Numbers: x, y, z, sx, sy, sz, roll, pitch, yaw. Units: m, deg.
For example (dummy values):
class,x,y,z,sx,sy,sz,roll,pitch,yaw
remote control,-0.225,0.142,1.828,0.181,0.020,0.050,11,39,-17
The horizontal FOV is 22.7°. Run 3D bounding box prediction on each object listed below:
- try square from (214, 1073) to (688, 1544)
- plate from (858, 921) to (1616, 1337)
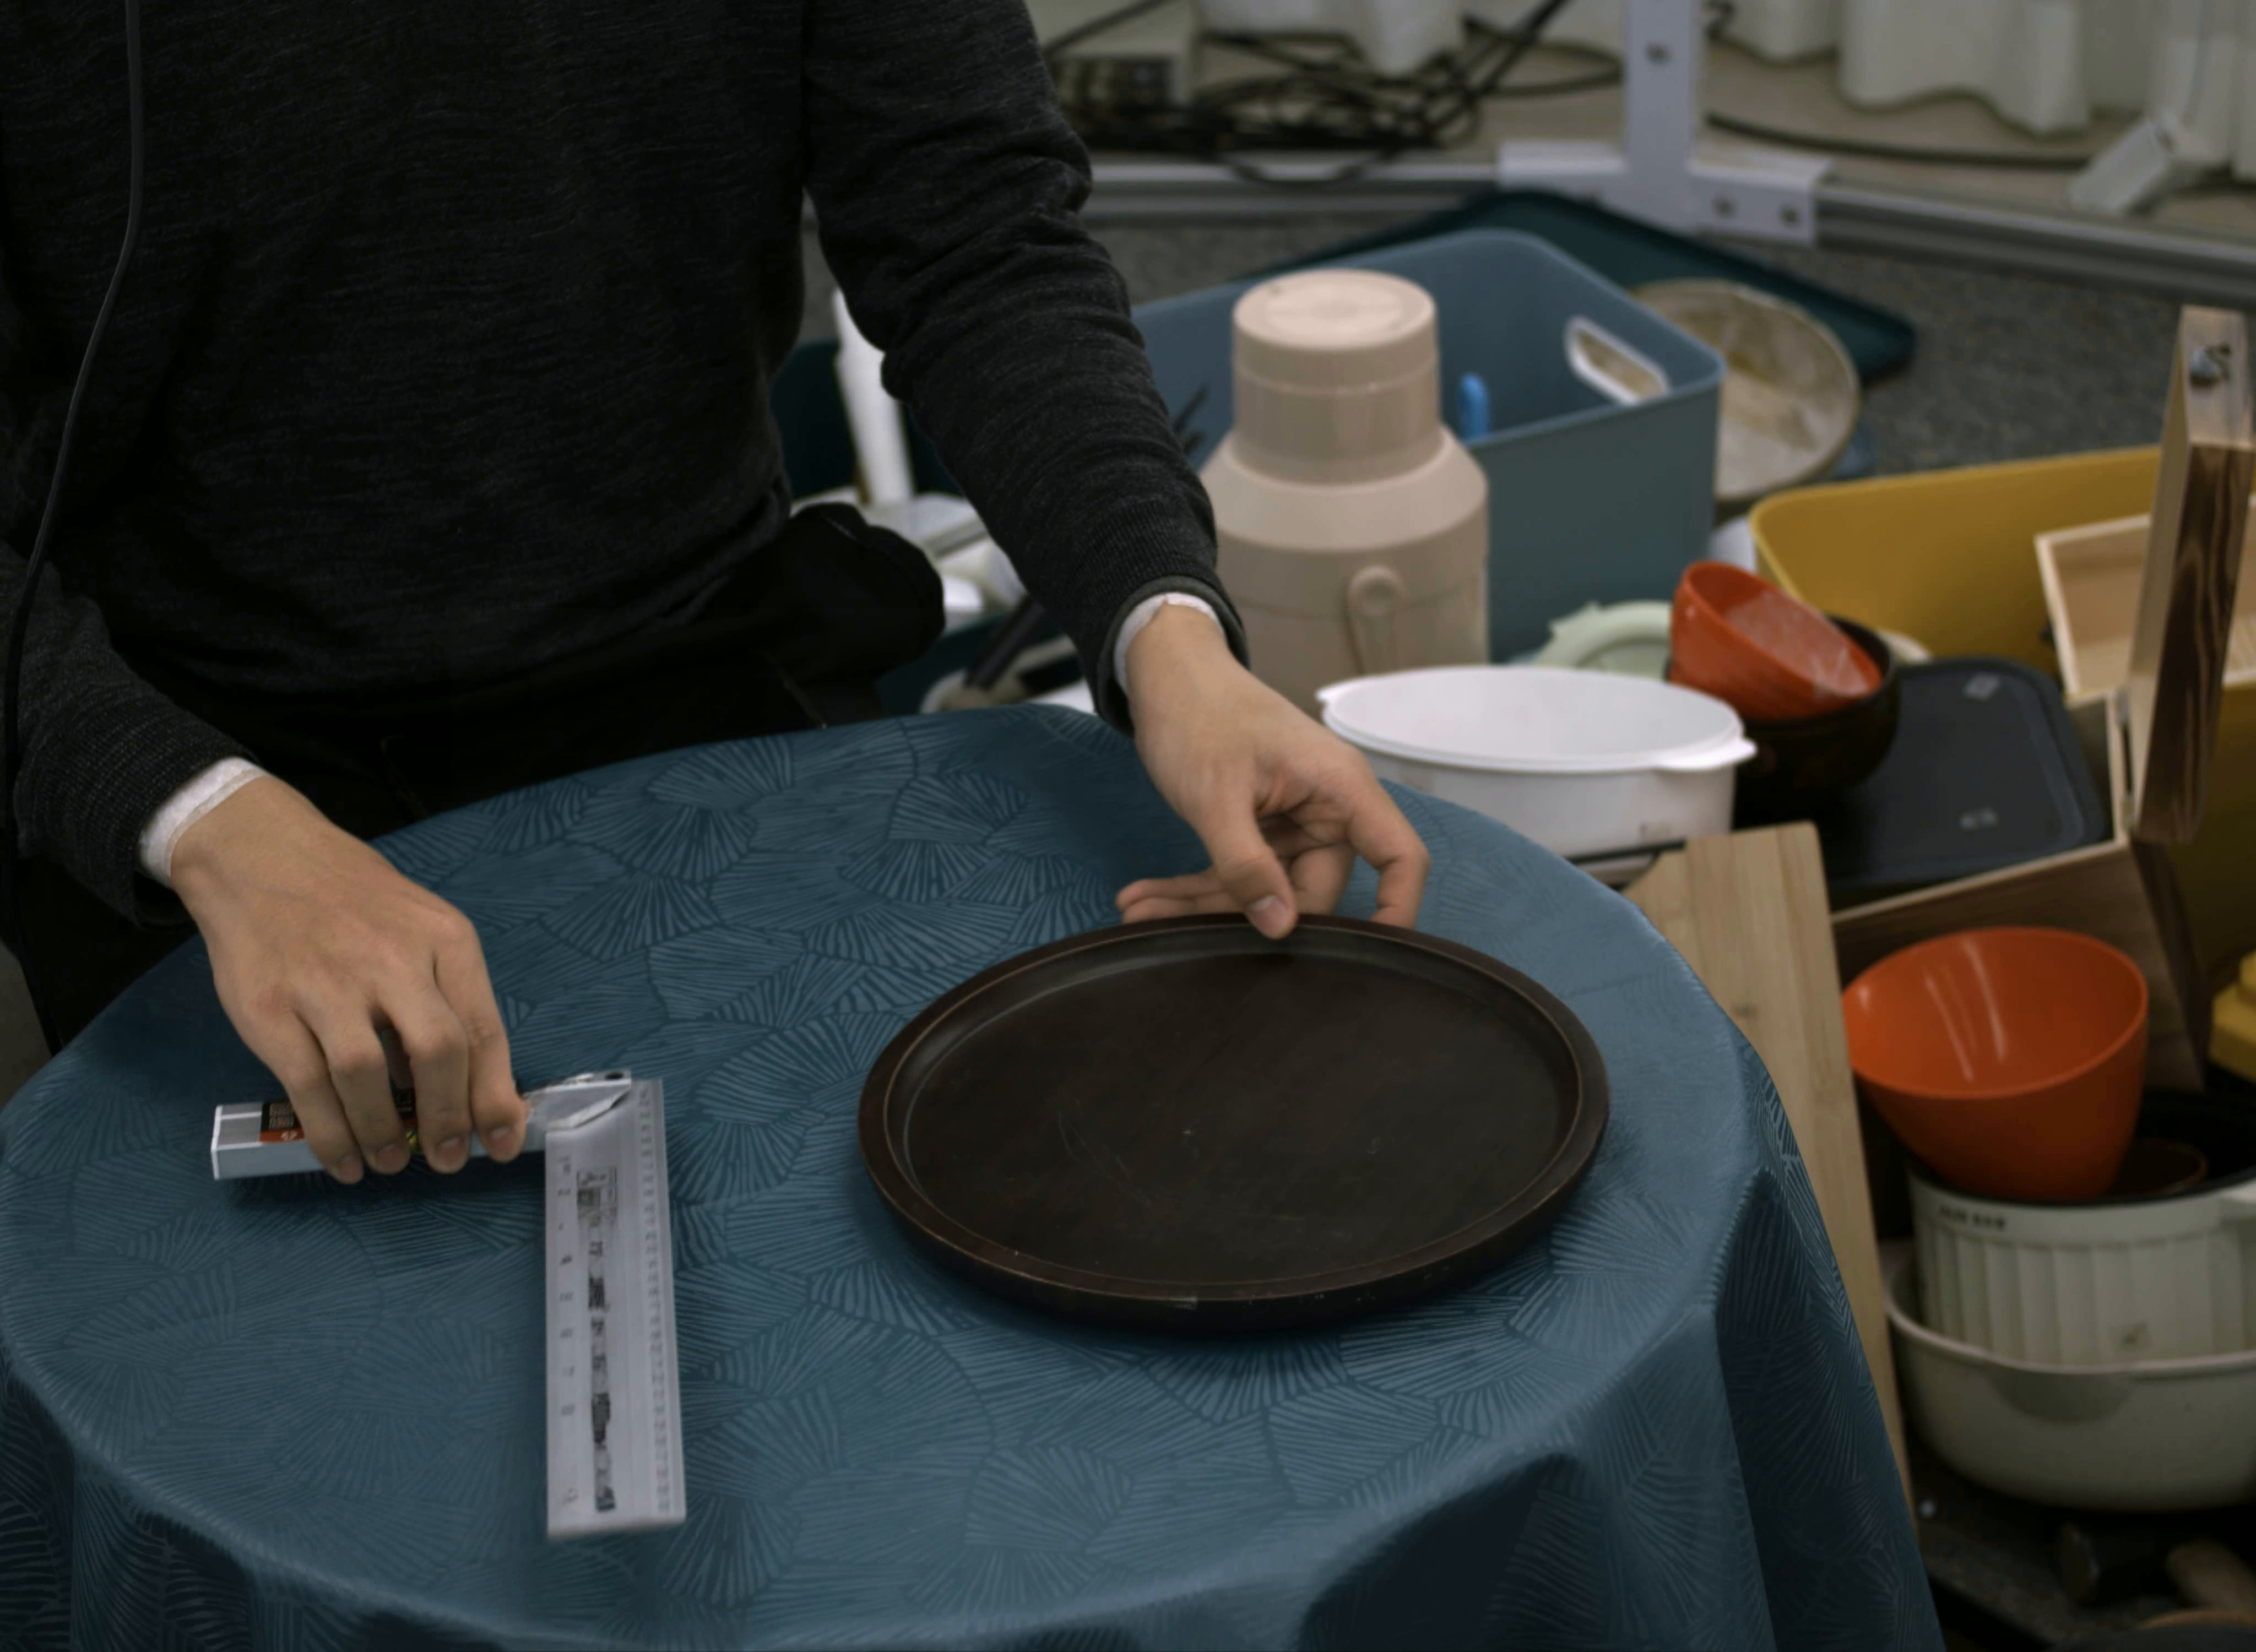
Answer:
class,x,y,z,sx,sy,sz,roll,pitch,yaw
try square,-0.217,0.153,1.761,0.152,0.016,0.316,-6,22,-4
plate,0.036,0.099,1.877,0.253,0.029,0.259,-2,28,1
